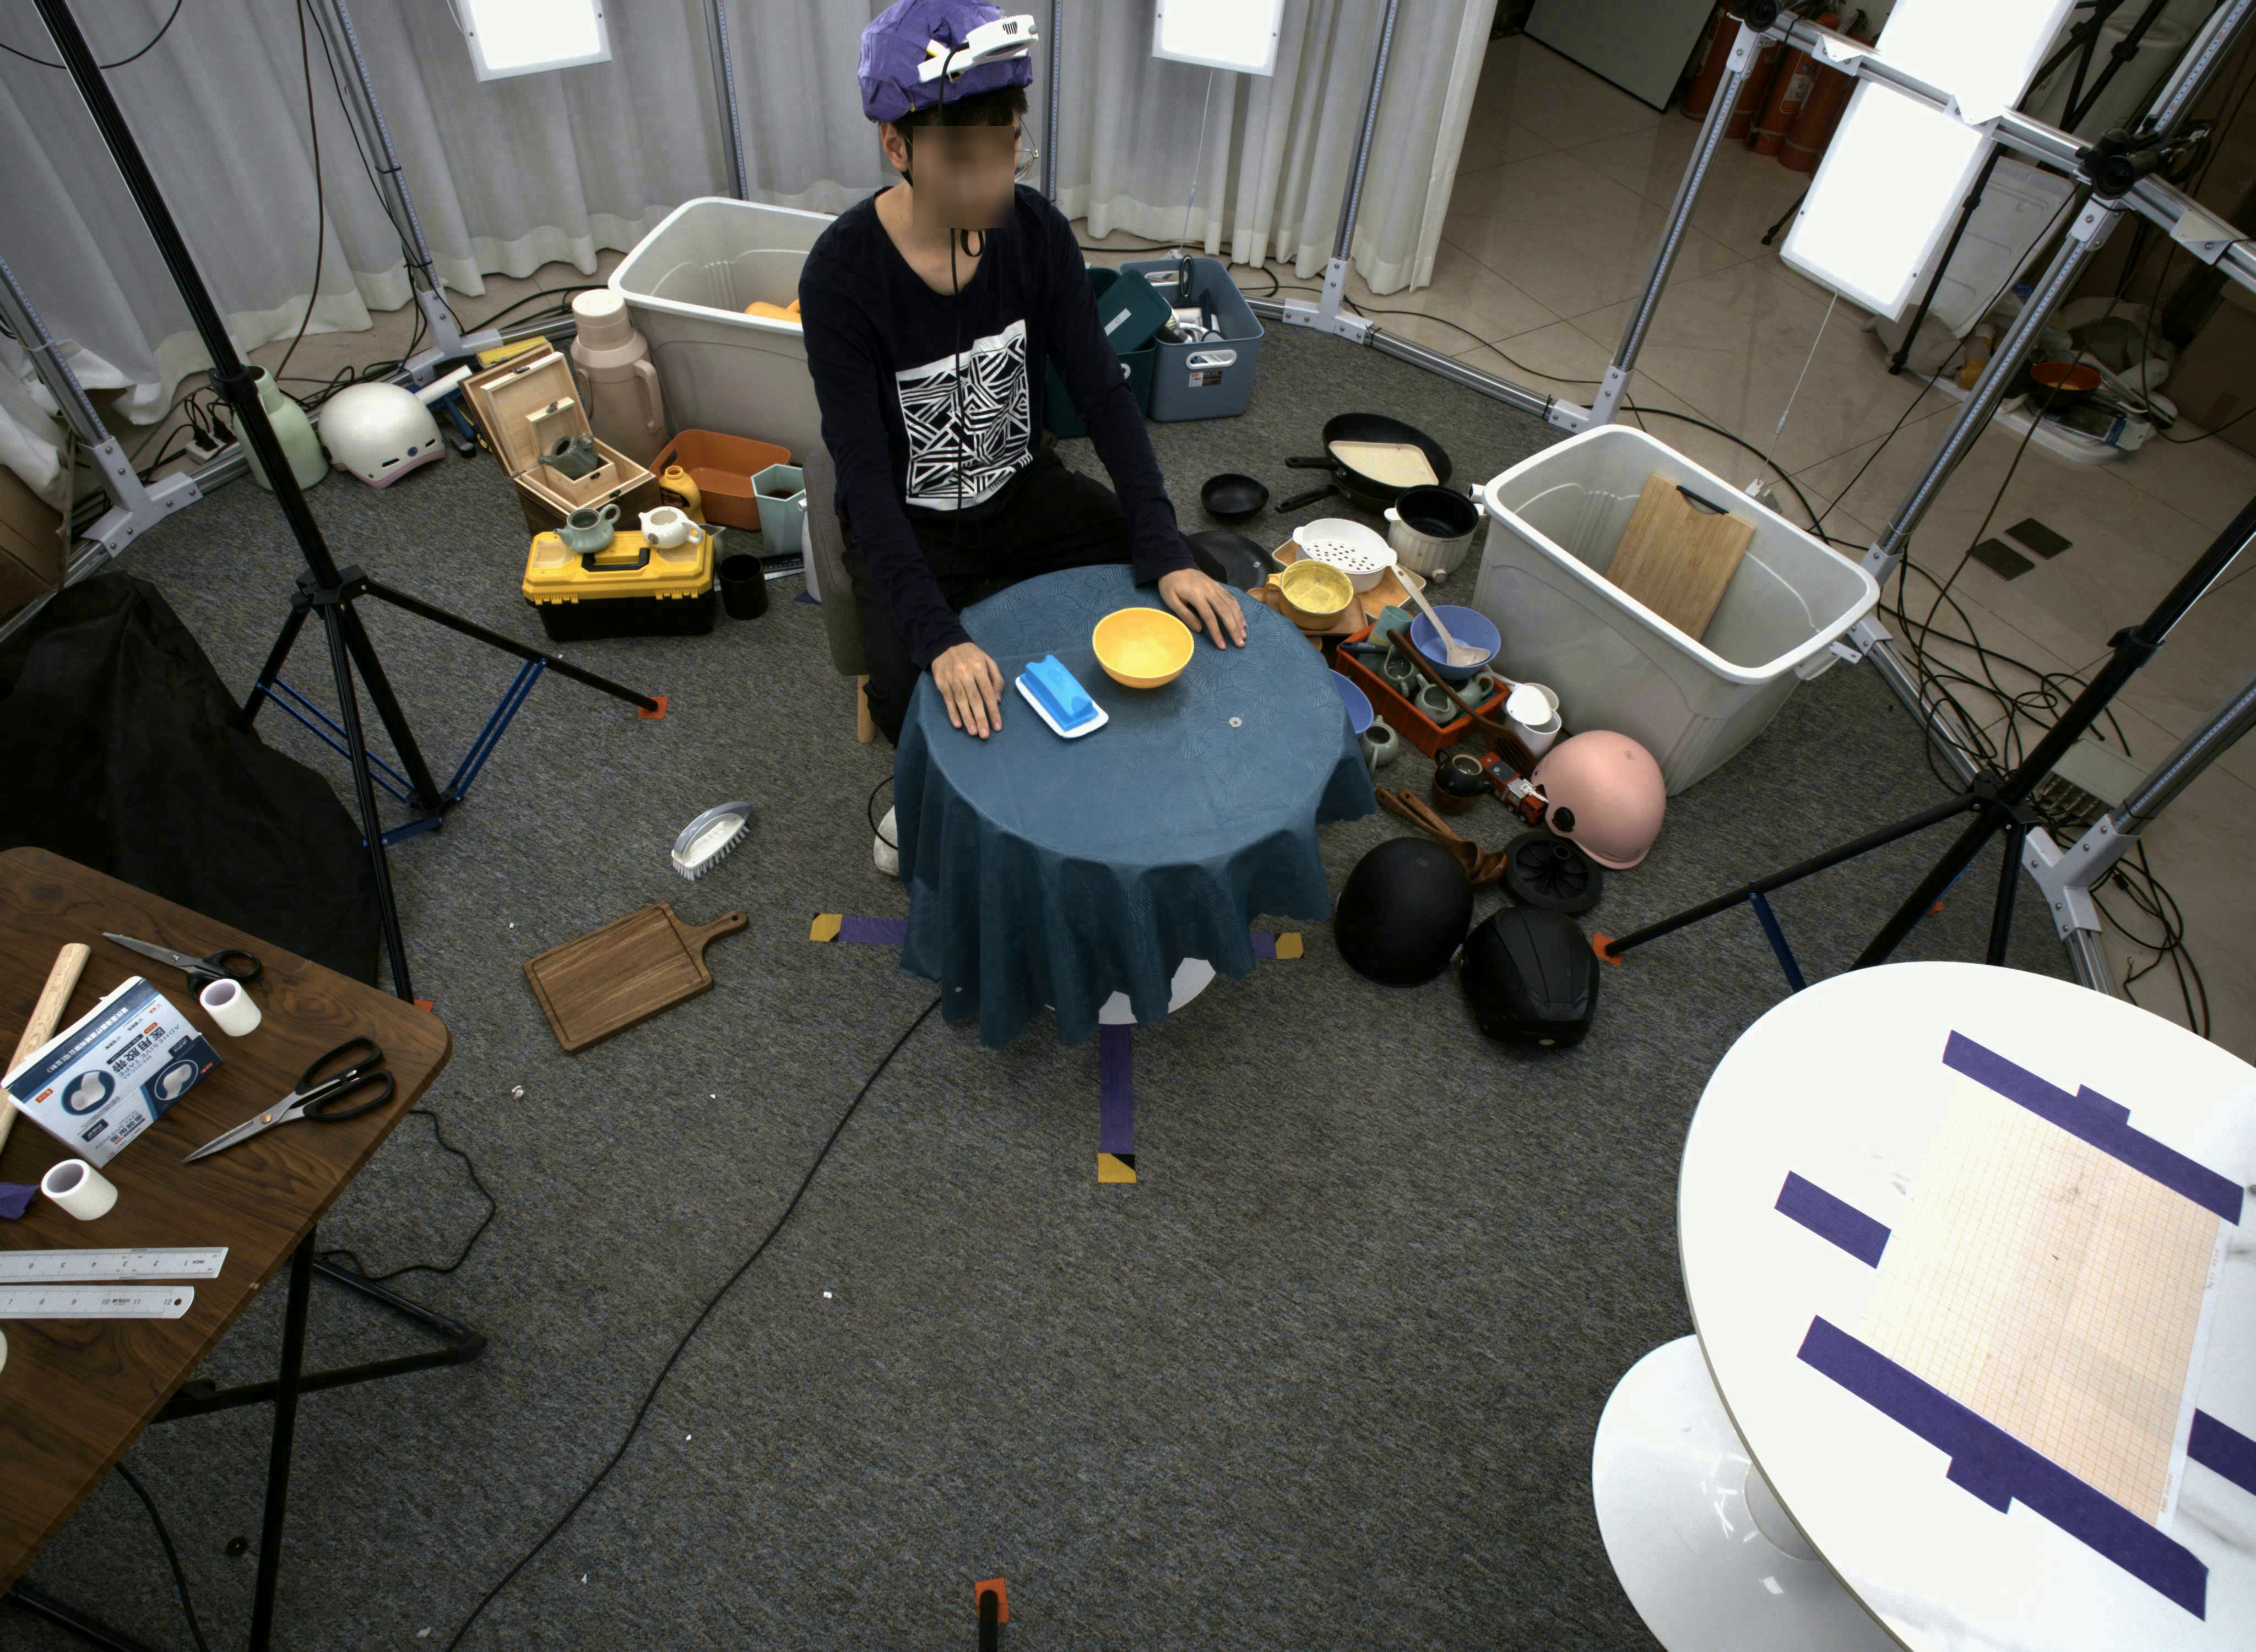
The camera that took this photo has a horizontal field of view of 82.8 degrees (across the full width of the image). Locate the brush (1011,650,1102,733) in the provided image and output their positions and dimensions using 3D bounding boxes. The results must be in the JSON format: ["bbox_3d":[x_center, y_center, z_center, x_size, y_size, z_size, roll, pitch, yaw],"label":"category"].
[{"bbox_3d":[-0.098,-0.194,1.790,0.084,0.054,0.147,-21,55,-25],"label":"brush"}]

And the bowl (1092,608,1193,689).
[{"bbox_3d":[0.019,-0.243,1.844,0.145,0.058,0.149,3,50,-3],"label":"bowl"}]
